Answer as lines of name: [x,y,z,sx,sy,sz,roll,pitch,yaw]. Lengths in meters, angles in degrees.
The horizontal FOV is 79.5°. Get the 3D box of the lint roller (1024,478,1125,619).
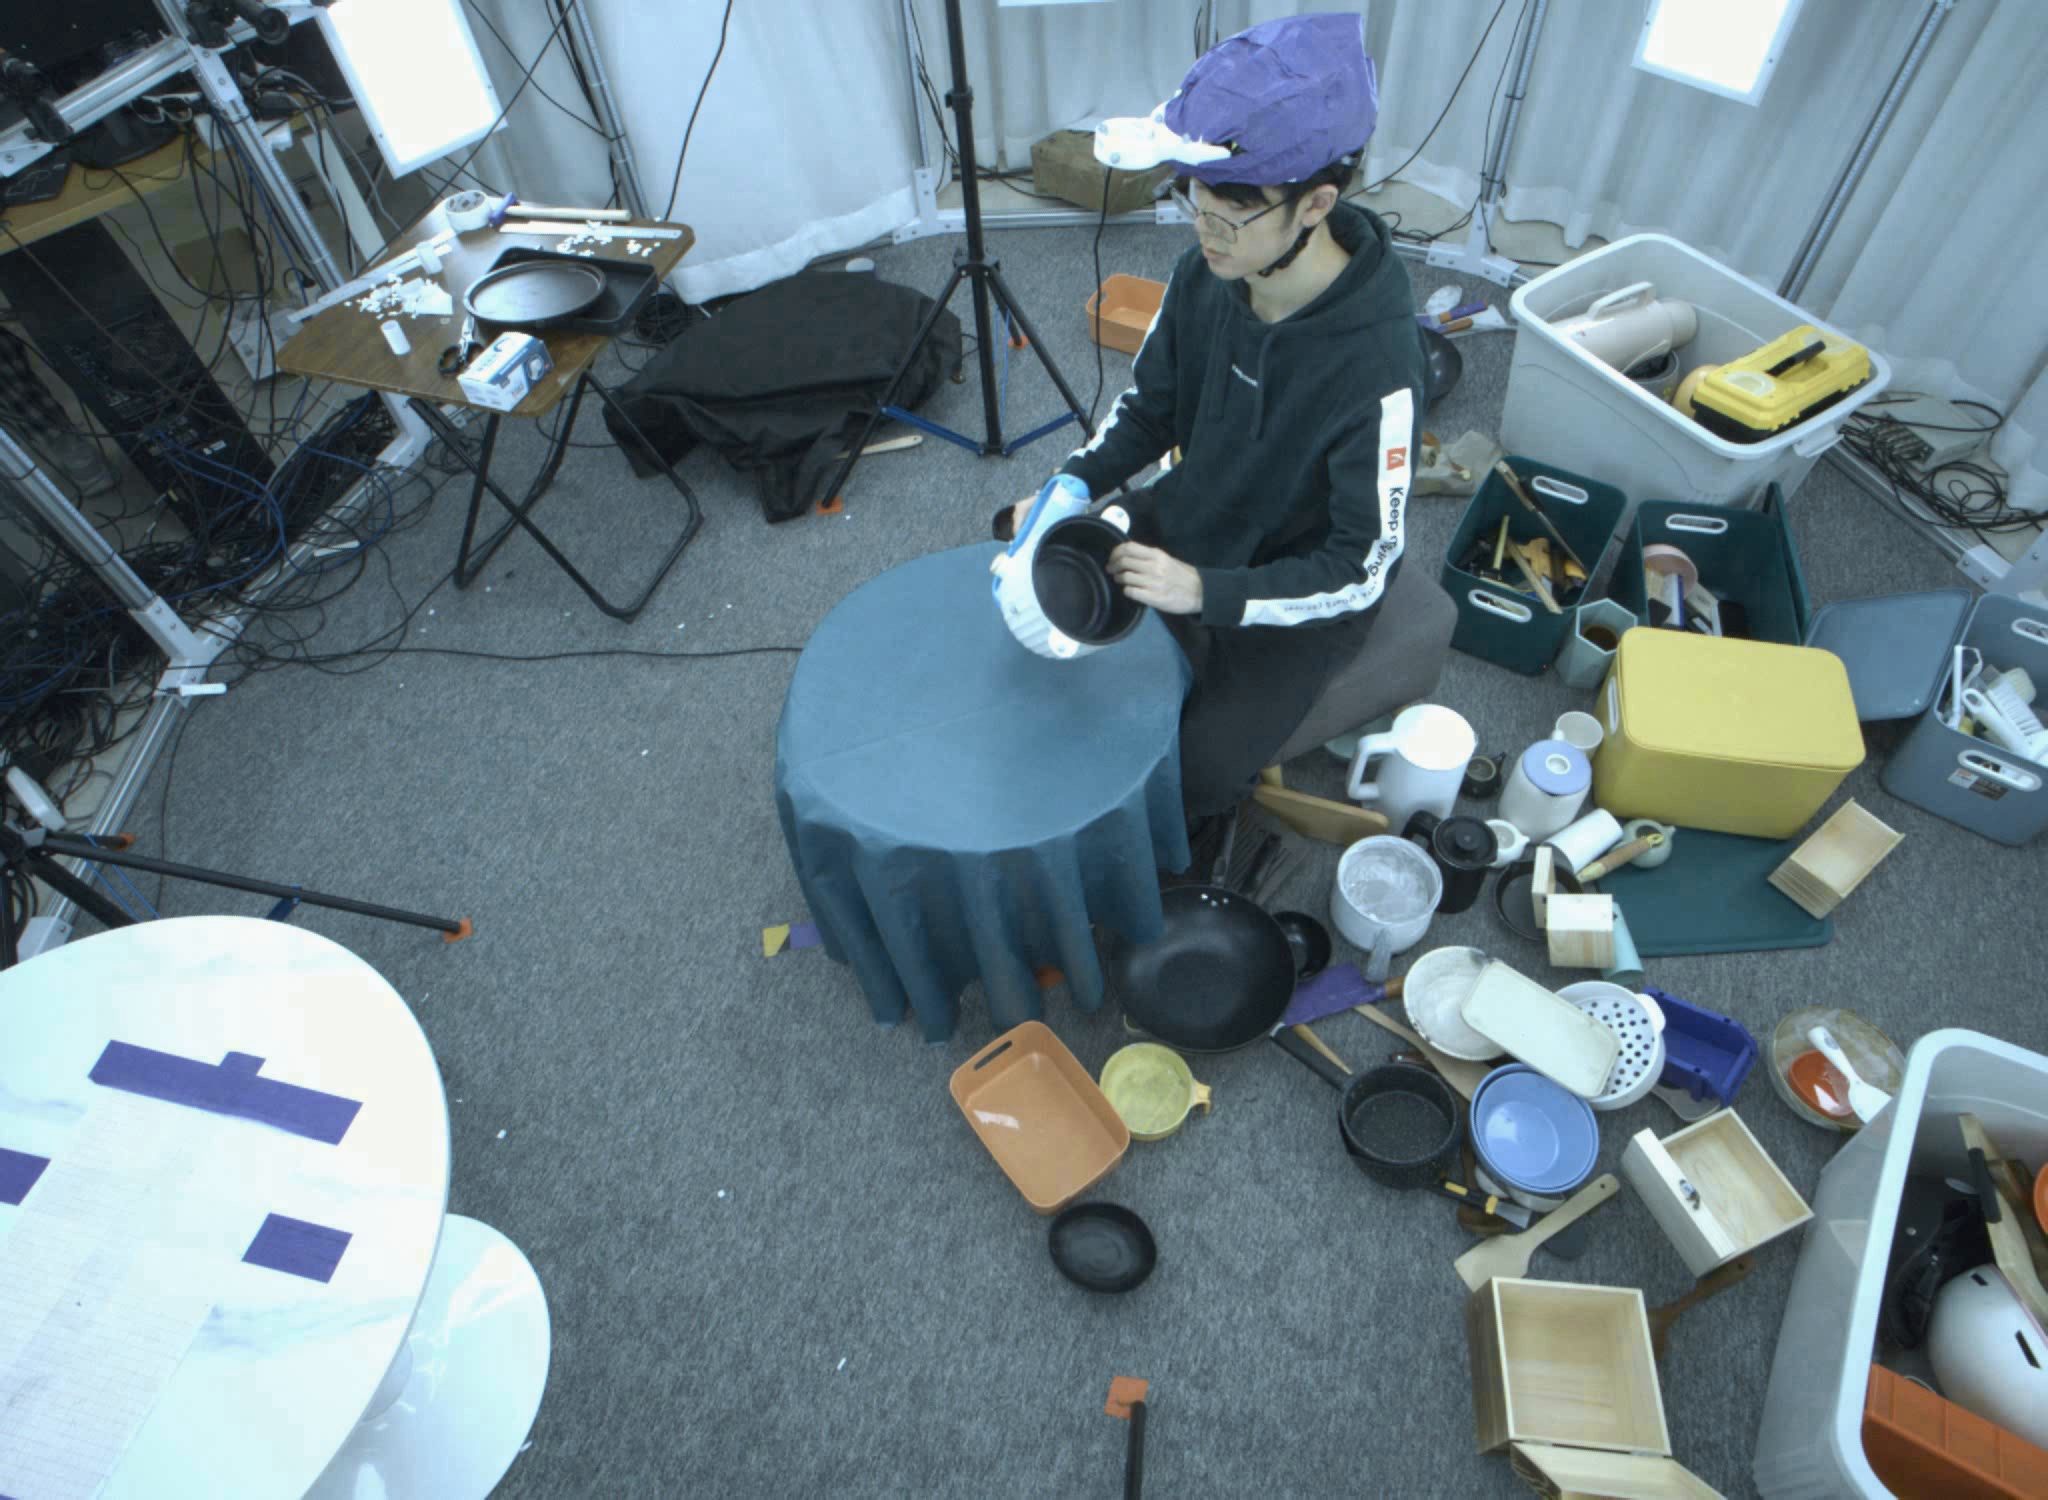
lint roller: [0.073,-0.310,1.810,0.068,0.228,0.179,26,23,-11]

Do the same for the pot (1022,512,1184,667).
pot: [0.100,-0.209,1.674,0.194,0.140,0.240,32,68,-24]
